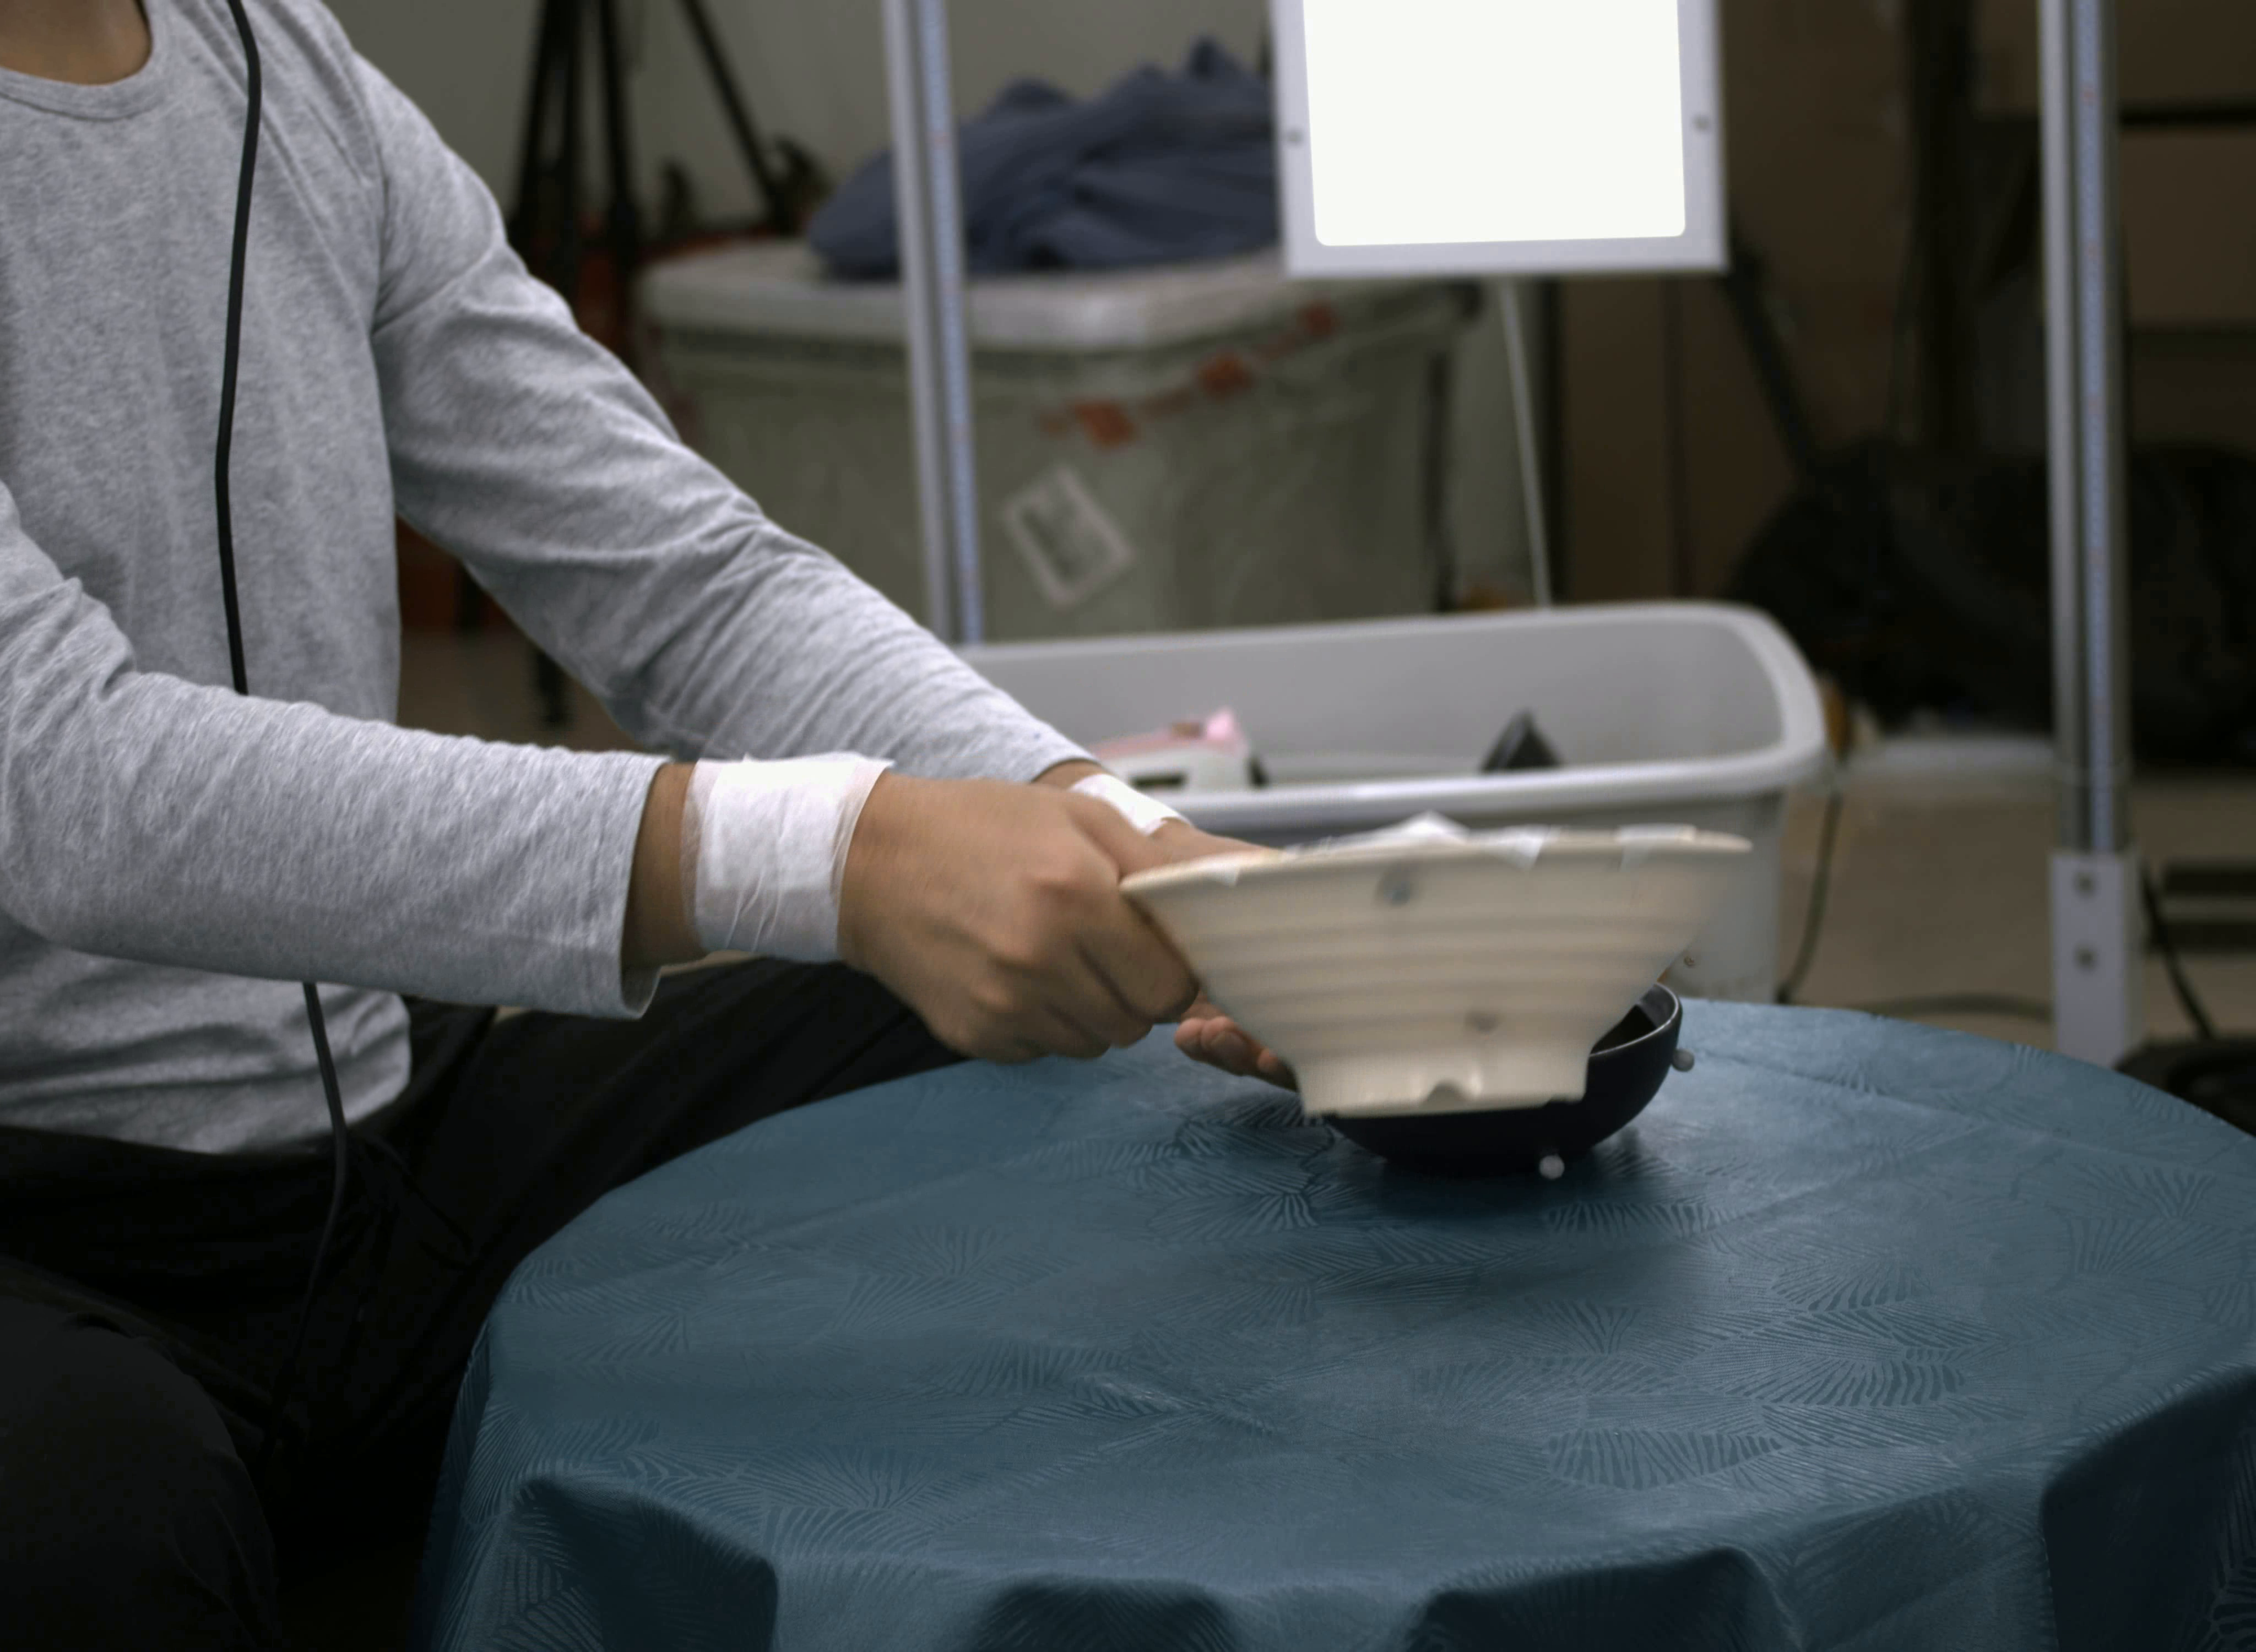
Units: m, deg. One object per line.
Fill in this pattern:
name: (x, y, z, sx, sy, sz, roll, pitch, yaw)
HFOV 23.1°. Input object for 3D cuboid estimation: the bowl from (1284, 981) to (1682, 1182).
bowl: (0.126, 0.091, 1.909, 0.139, 0.050, 0.140, -8, 9, 0)

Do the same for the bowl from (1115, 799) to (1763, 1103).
bowl: (0.099, 0.044, 1.716, 0.203, 0.078, 0.204, -3, -8, -2)
